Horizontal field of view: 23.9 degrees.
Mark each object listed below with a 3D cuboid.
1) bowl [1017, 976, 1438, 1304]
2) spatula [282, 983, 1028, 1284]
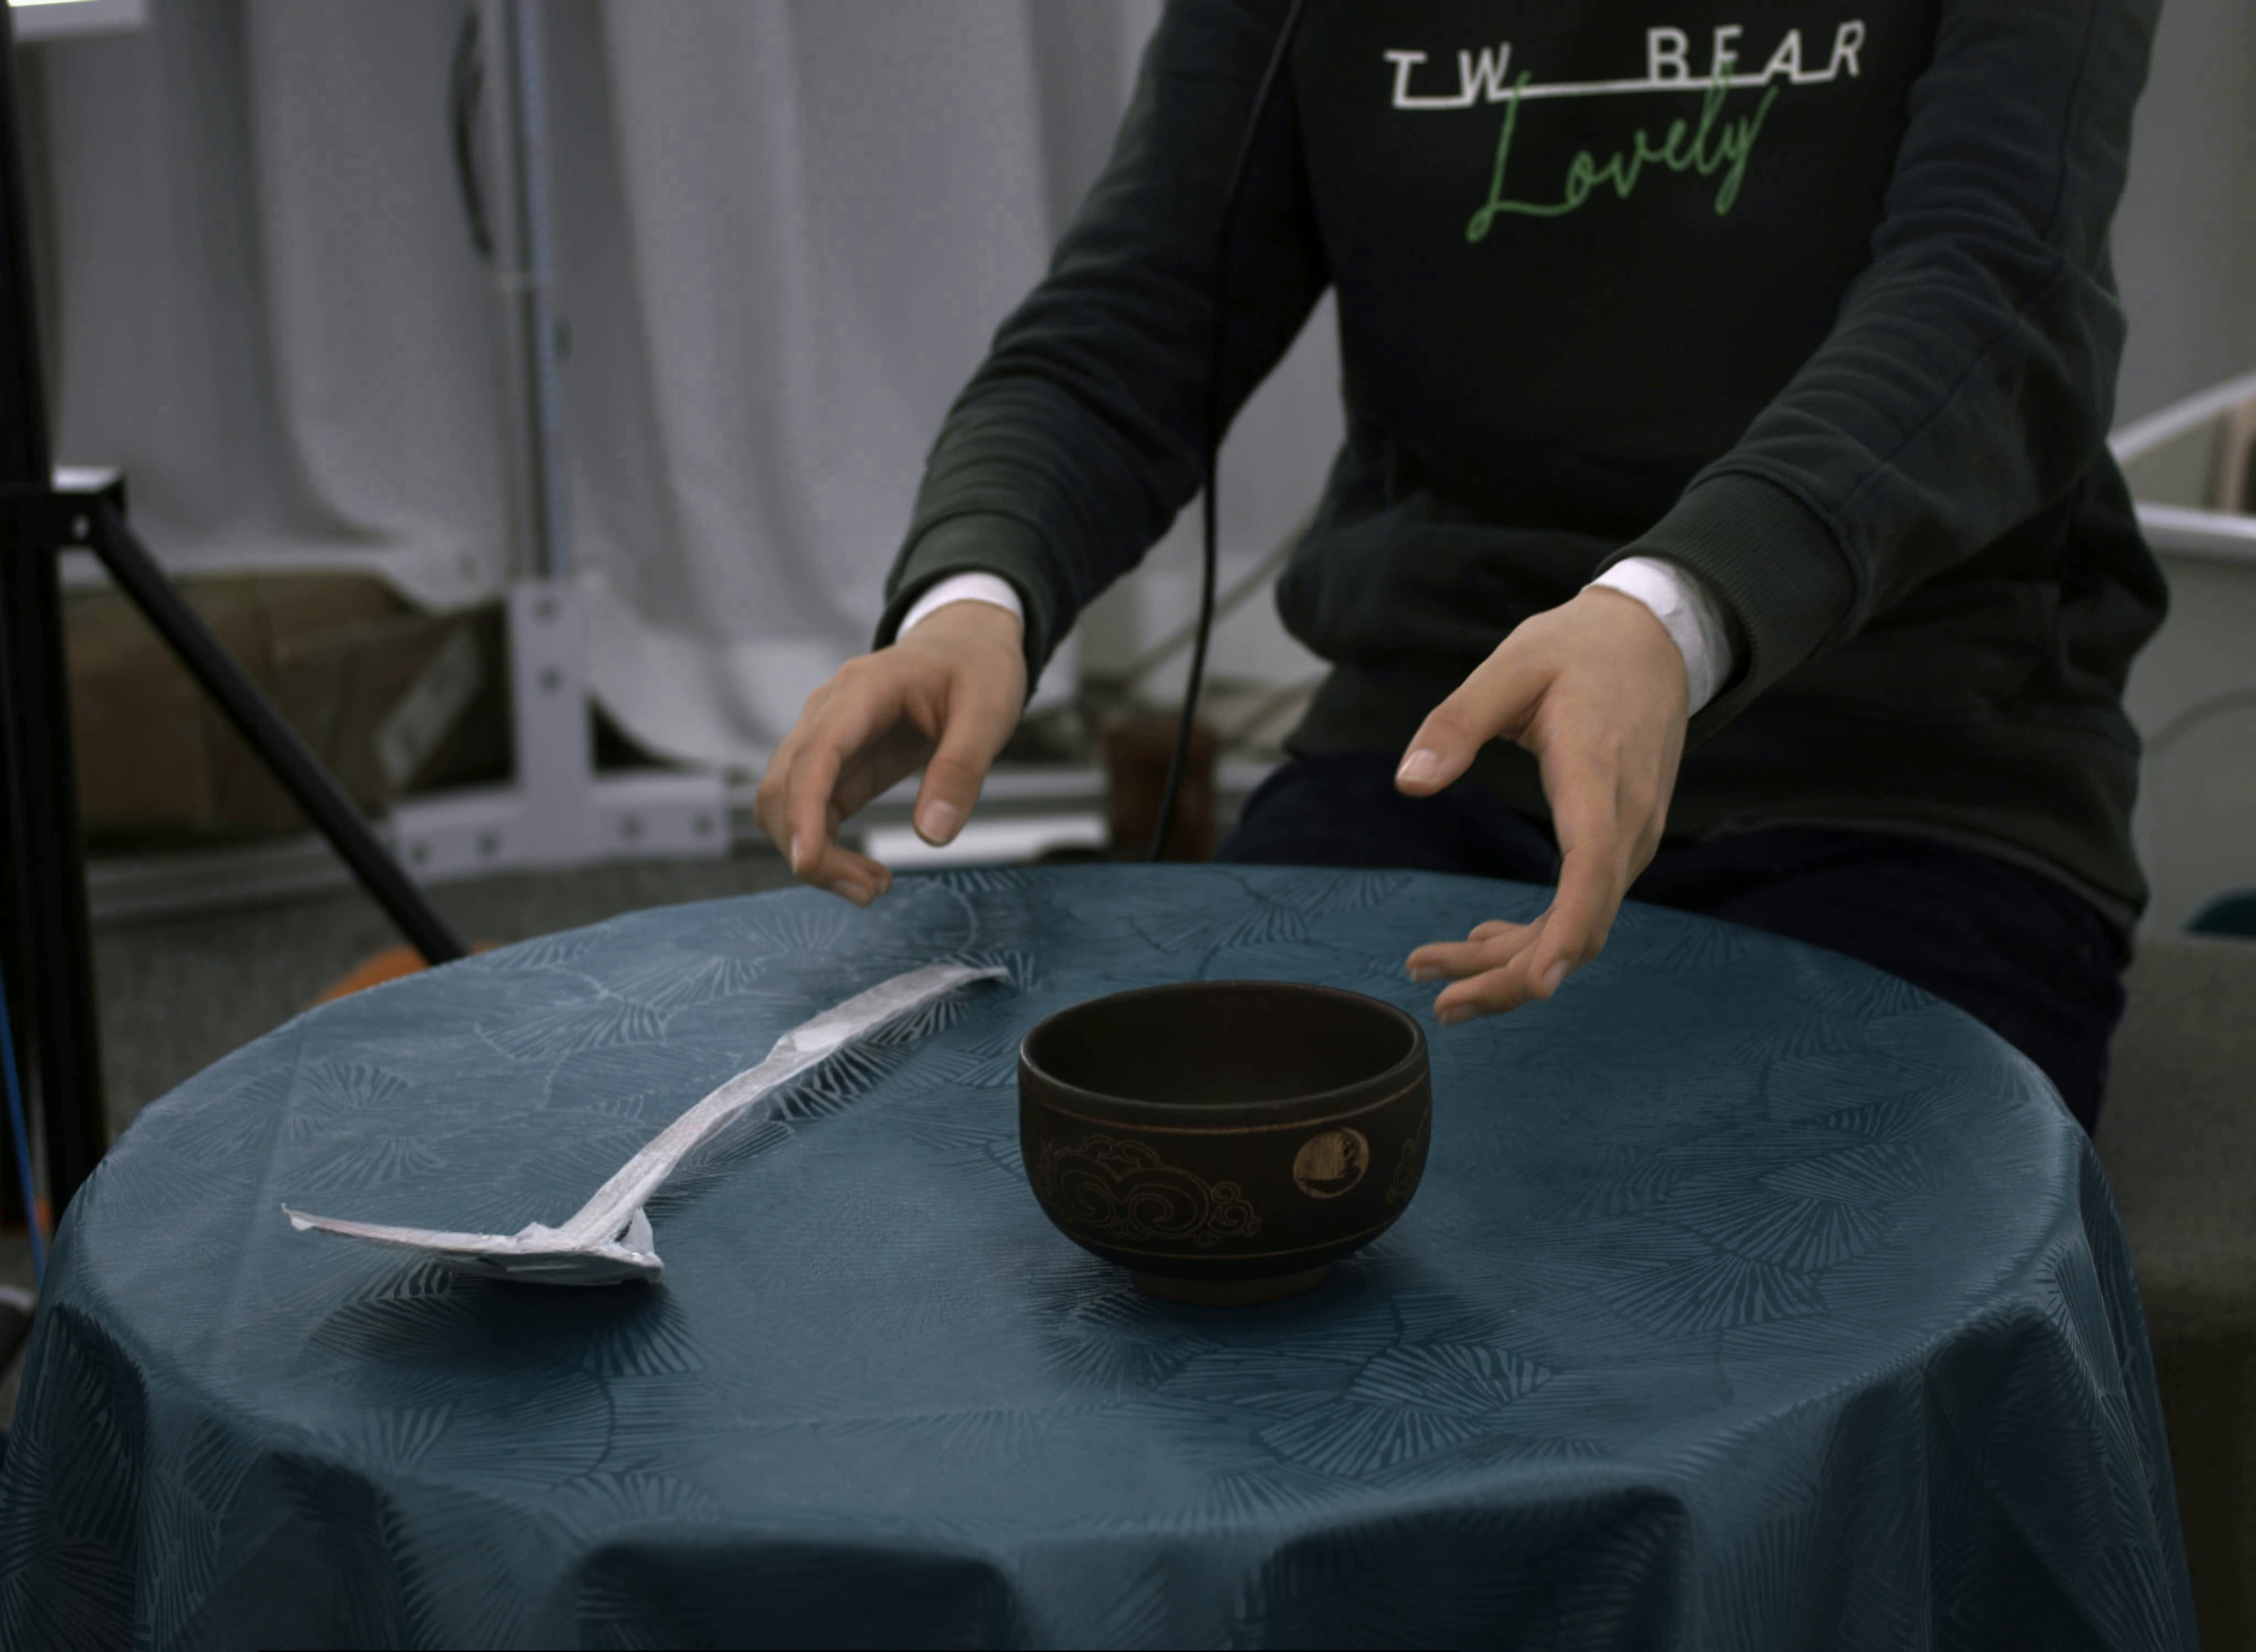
[{"bbox_3d":[0.028,0.091,1.481,0.117,0.070,0.118,-1,16,-1],"label":"bowl"},{"bbox_3d":[-0.120,0.082,1.598,0.100,0.045,0.359,3,17,26],"label":"spatula"}]
